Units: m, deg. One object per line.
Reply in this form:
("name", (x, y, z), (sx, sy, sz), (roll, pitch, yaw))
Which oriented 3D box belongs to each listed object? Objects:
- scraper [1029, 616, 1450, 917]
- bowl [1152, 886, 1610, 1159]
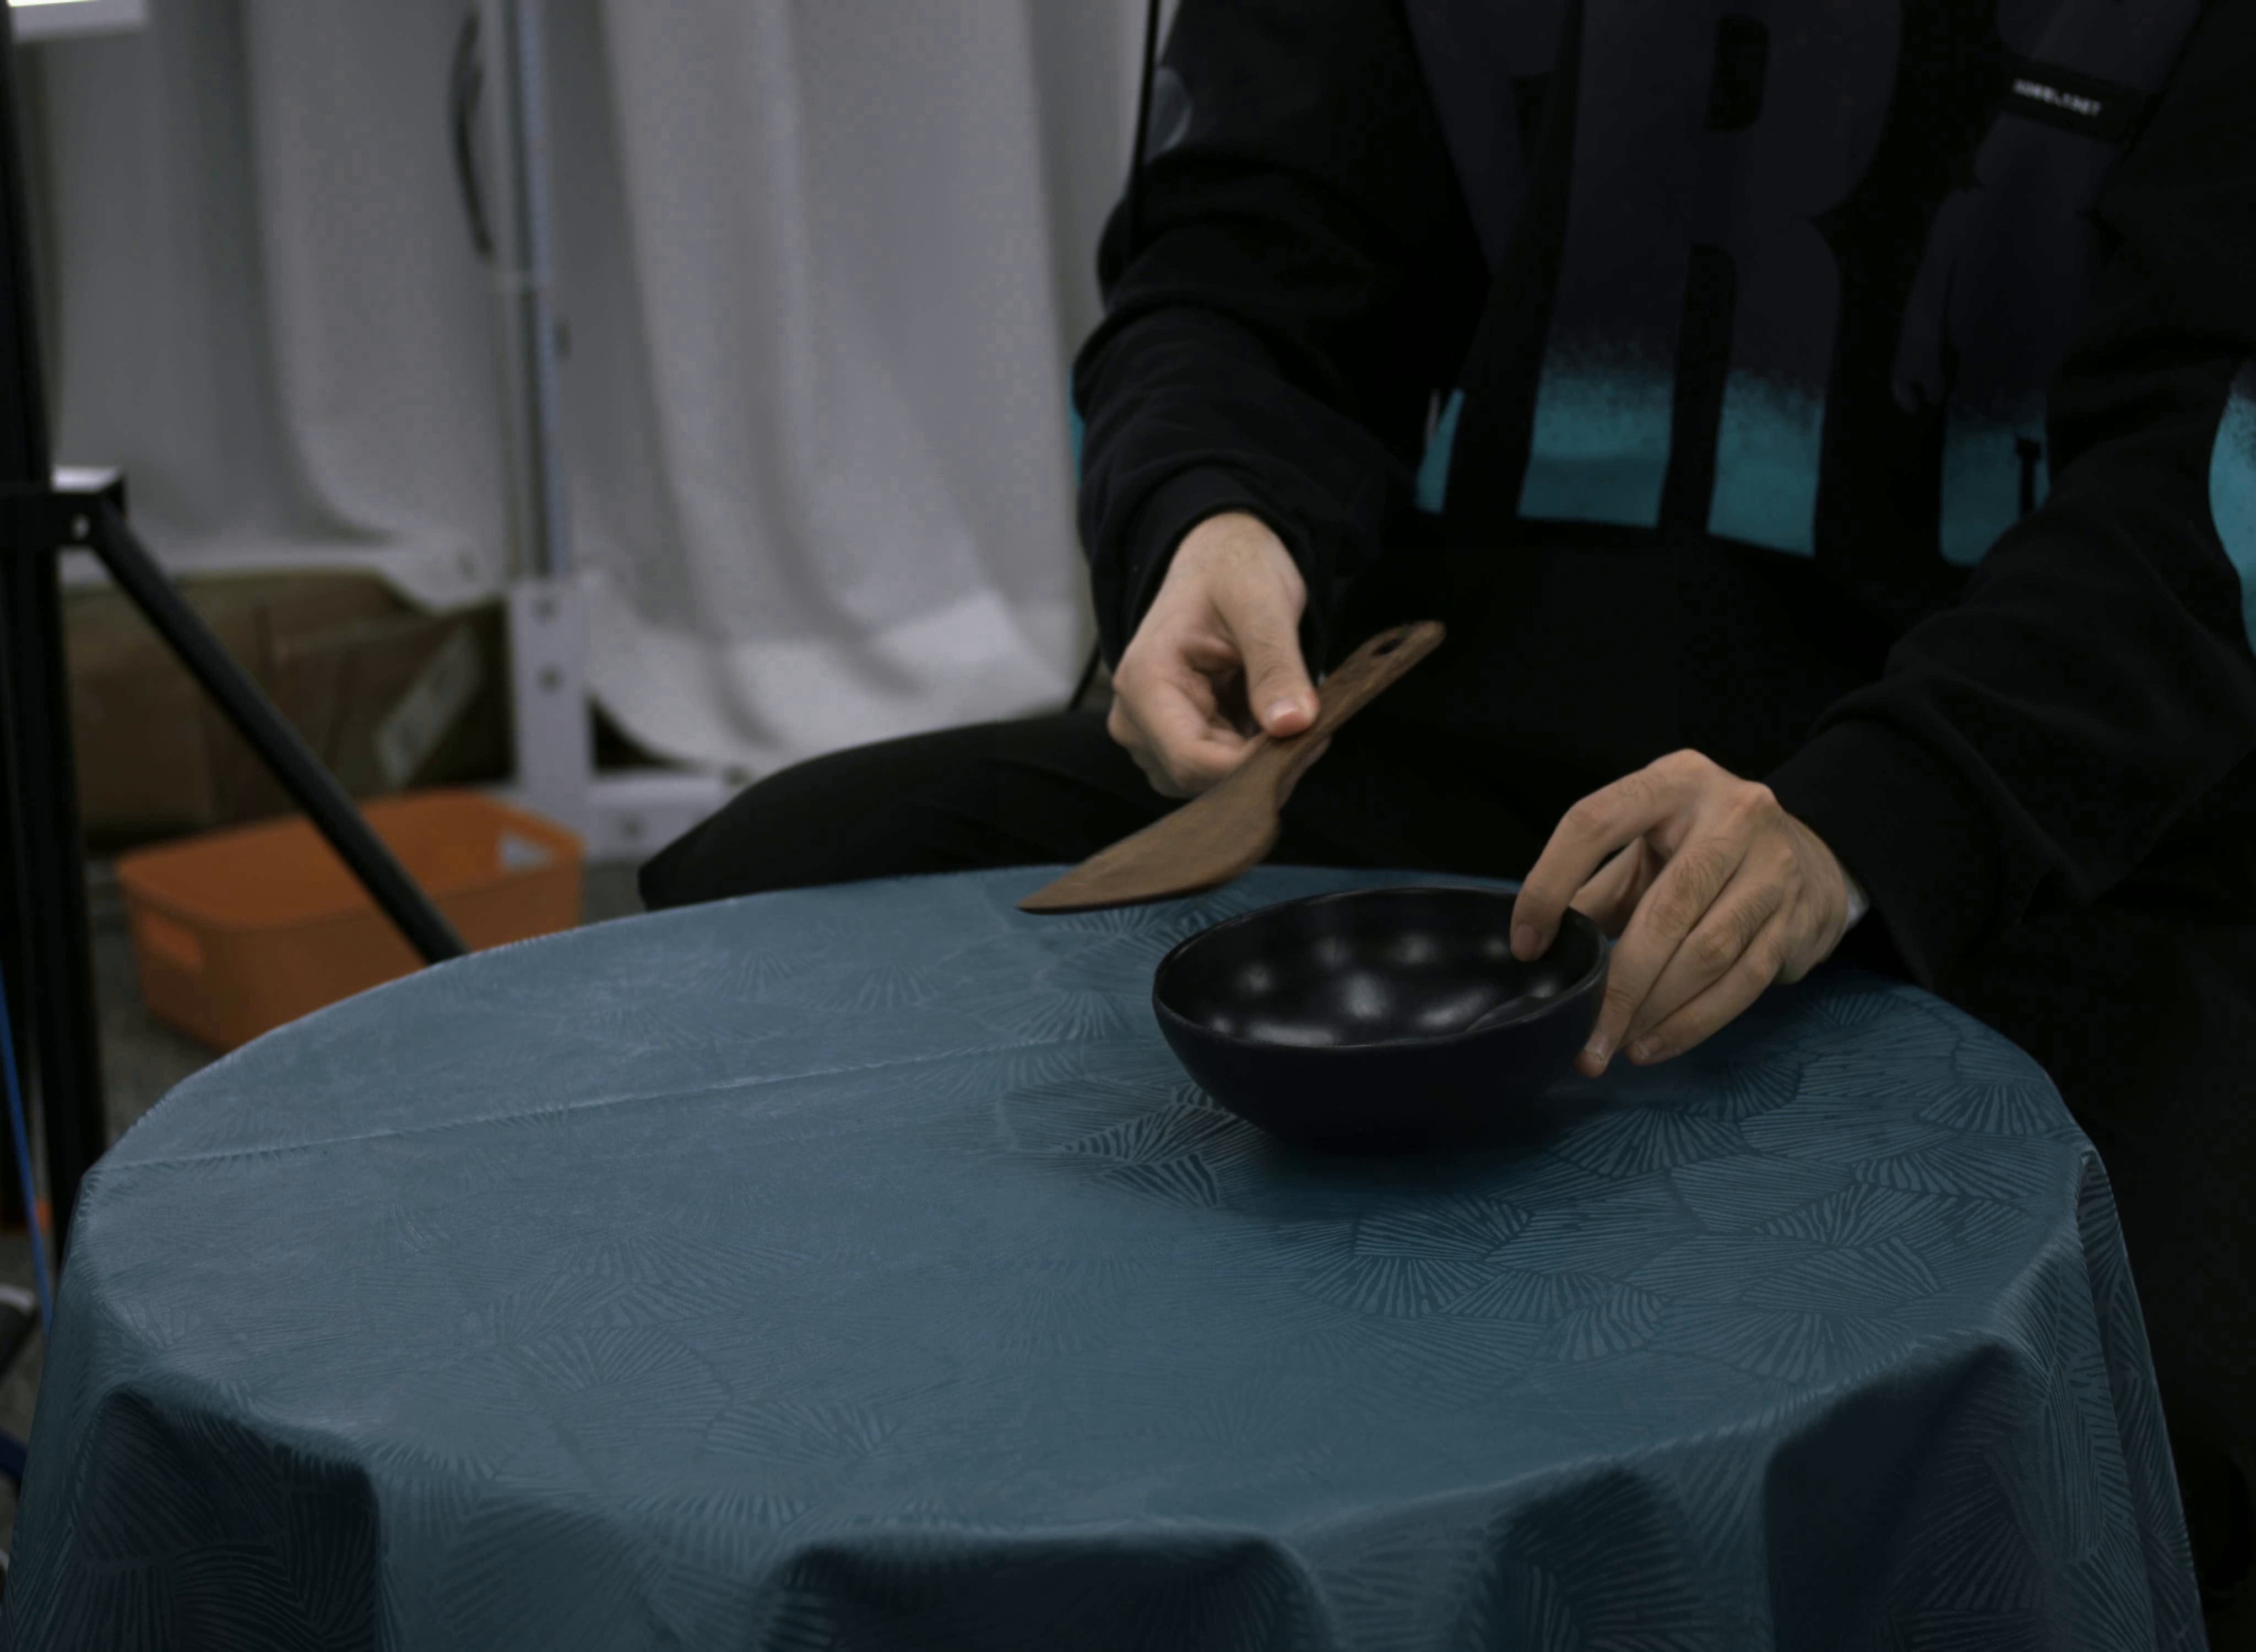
("scraper", (0.047, -0.019, 1.665), (0.077, 0.011, 0.208), (-7, 23, 36))
("bowl", (0.079, 0.065, 1.596), (0.139, 0.049, 0.141), (-9, 17, 1))
